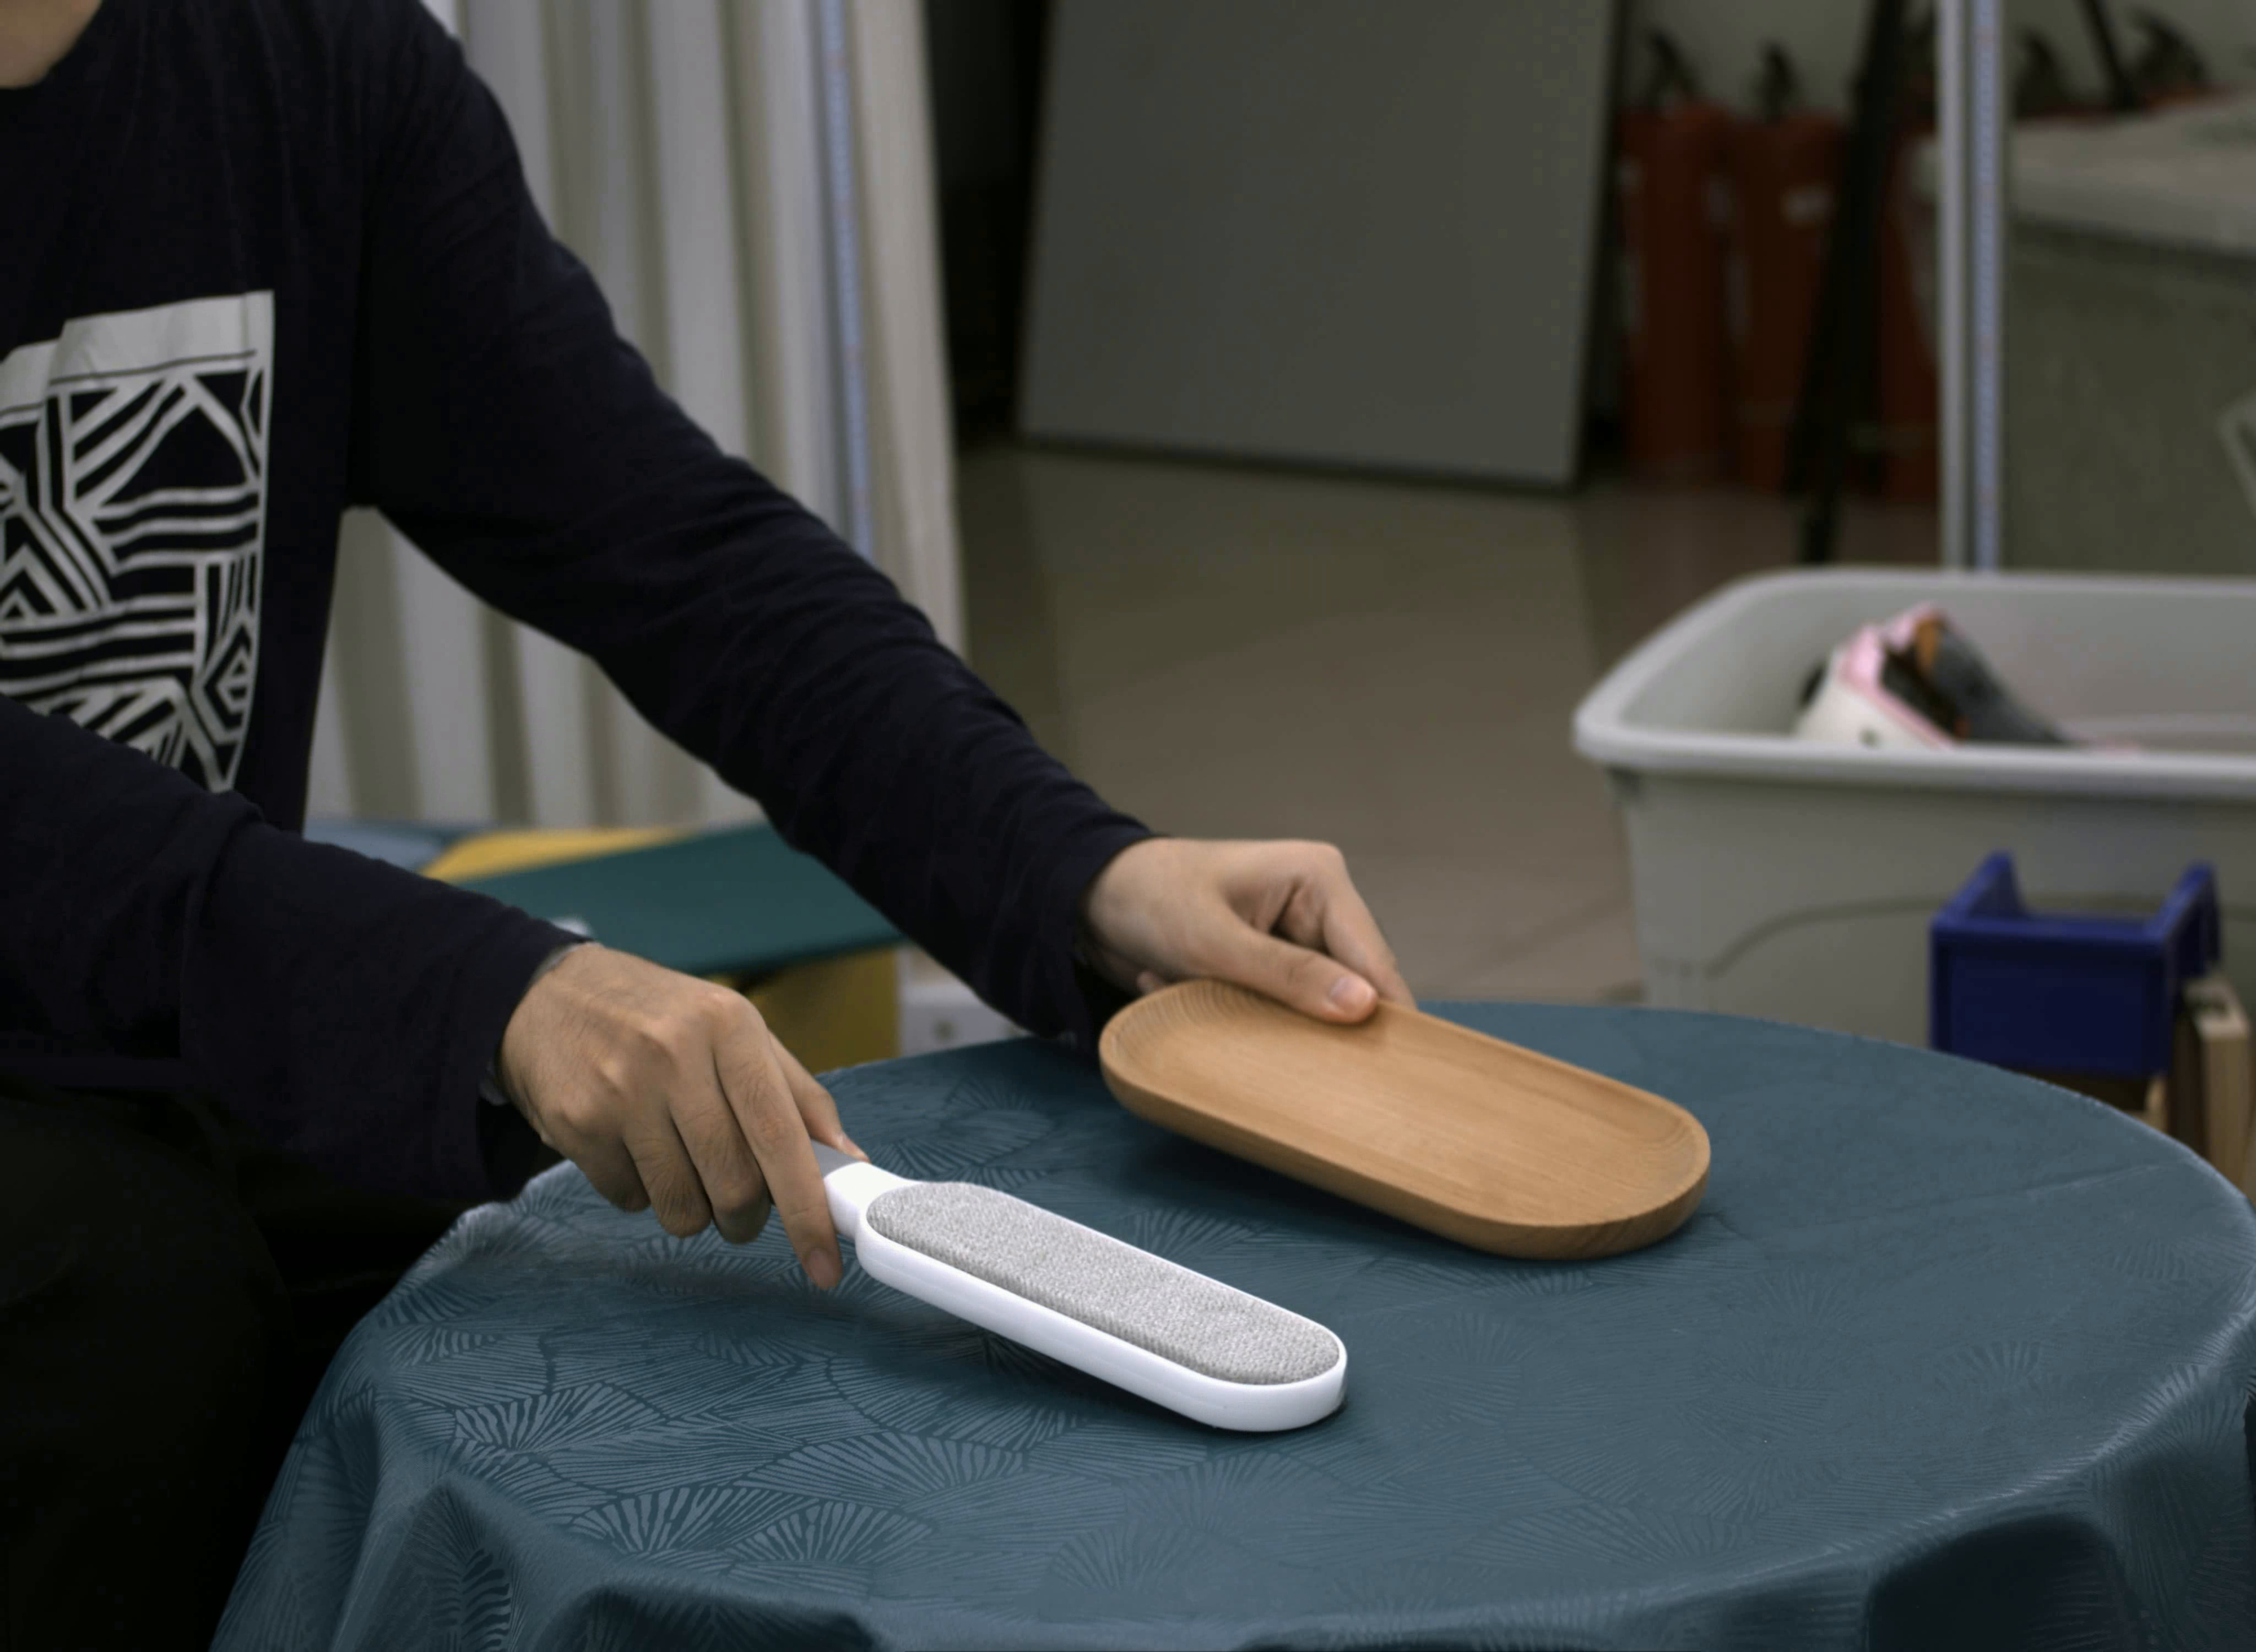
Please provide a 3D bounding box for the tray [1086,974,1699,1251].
[{"bbox_3d":[0.084,0.092,1.760,0.233,0.020,0.100,16,29,40],"label":"tray"}]

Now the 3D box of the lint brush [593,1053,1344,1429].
[{"bbox_3d":[-0.055,0.122,1.642,0.312,0.021,0.059,20,33,40],"label":"lint brush"}]
